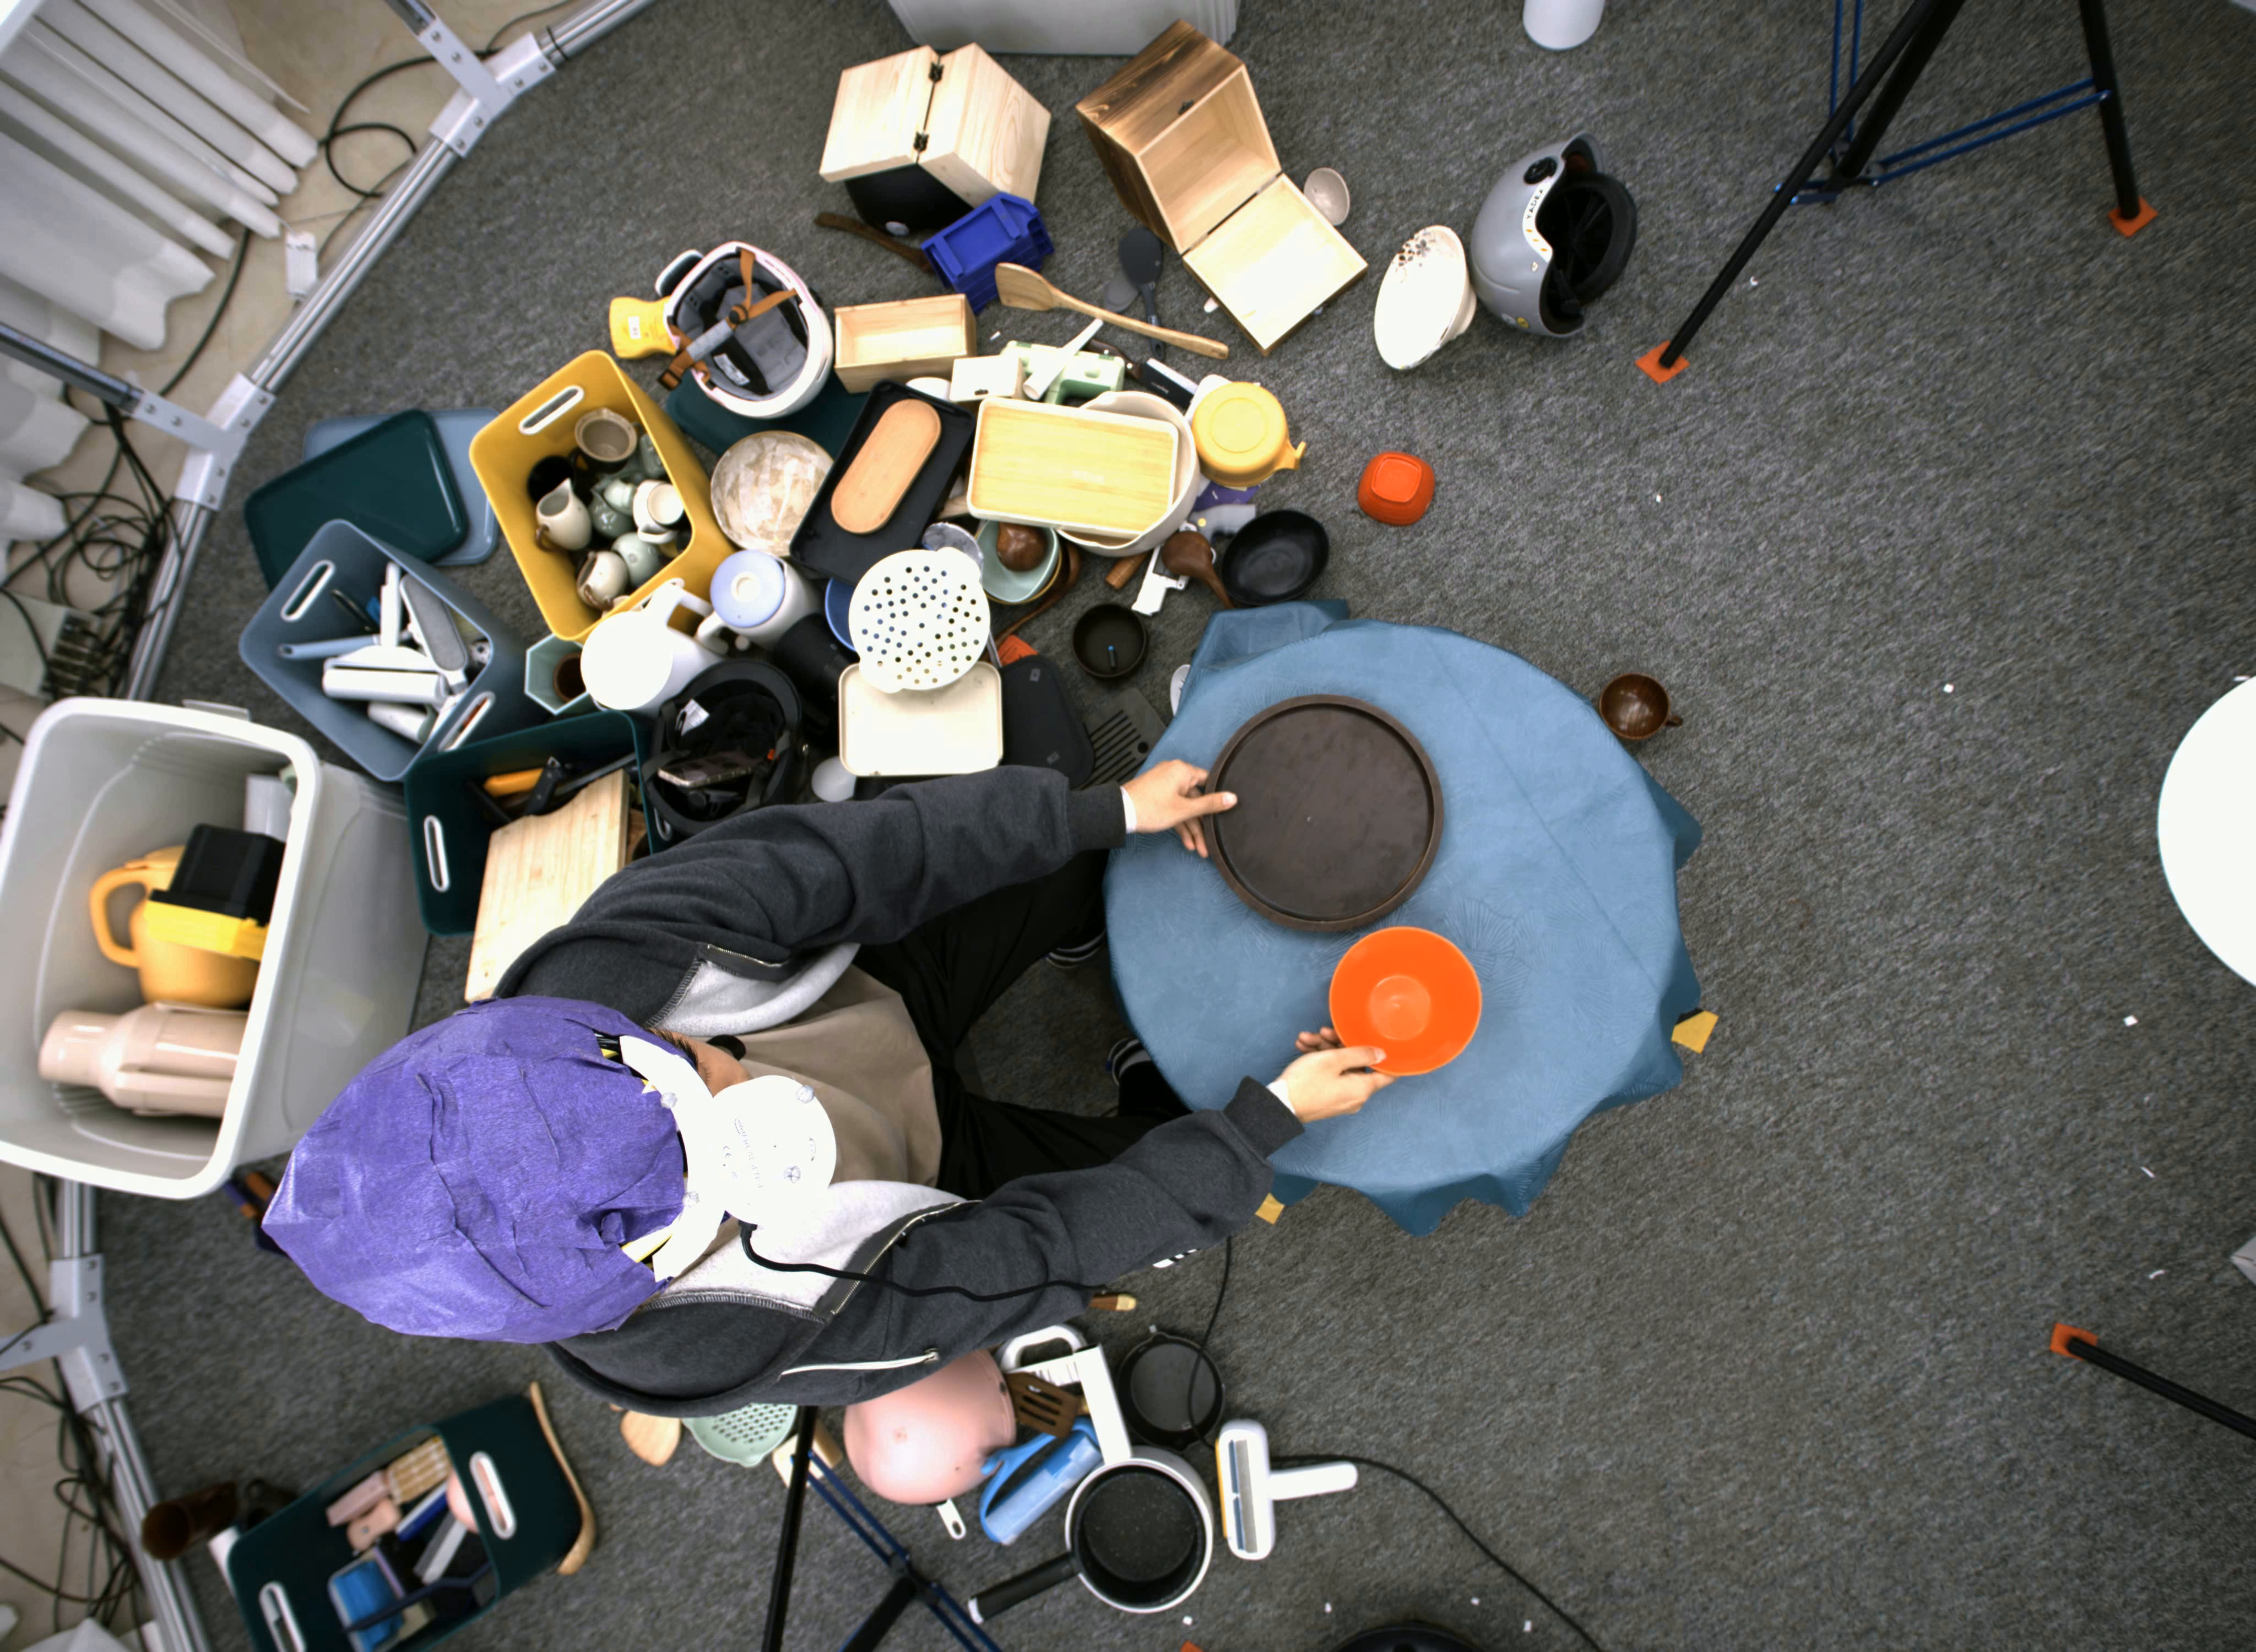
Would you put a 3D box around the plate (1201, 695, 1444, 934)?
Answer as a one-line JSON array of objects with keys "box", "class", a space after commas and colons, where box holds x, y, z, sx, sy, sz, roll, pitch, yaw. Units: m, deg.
[{"box": [0.204, -0.014, 1.458, 0.255, 0.029, 0.254, 0, 89, 6], "class": "plate"}]

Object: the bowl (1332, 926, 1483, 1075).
[{"box": [0.278, 0.174, 1.398, 0.148, 0.105, 0.147, 0, 87, 7], "class": "bowl"}]
